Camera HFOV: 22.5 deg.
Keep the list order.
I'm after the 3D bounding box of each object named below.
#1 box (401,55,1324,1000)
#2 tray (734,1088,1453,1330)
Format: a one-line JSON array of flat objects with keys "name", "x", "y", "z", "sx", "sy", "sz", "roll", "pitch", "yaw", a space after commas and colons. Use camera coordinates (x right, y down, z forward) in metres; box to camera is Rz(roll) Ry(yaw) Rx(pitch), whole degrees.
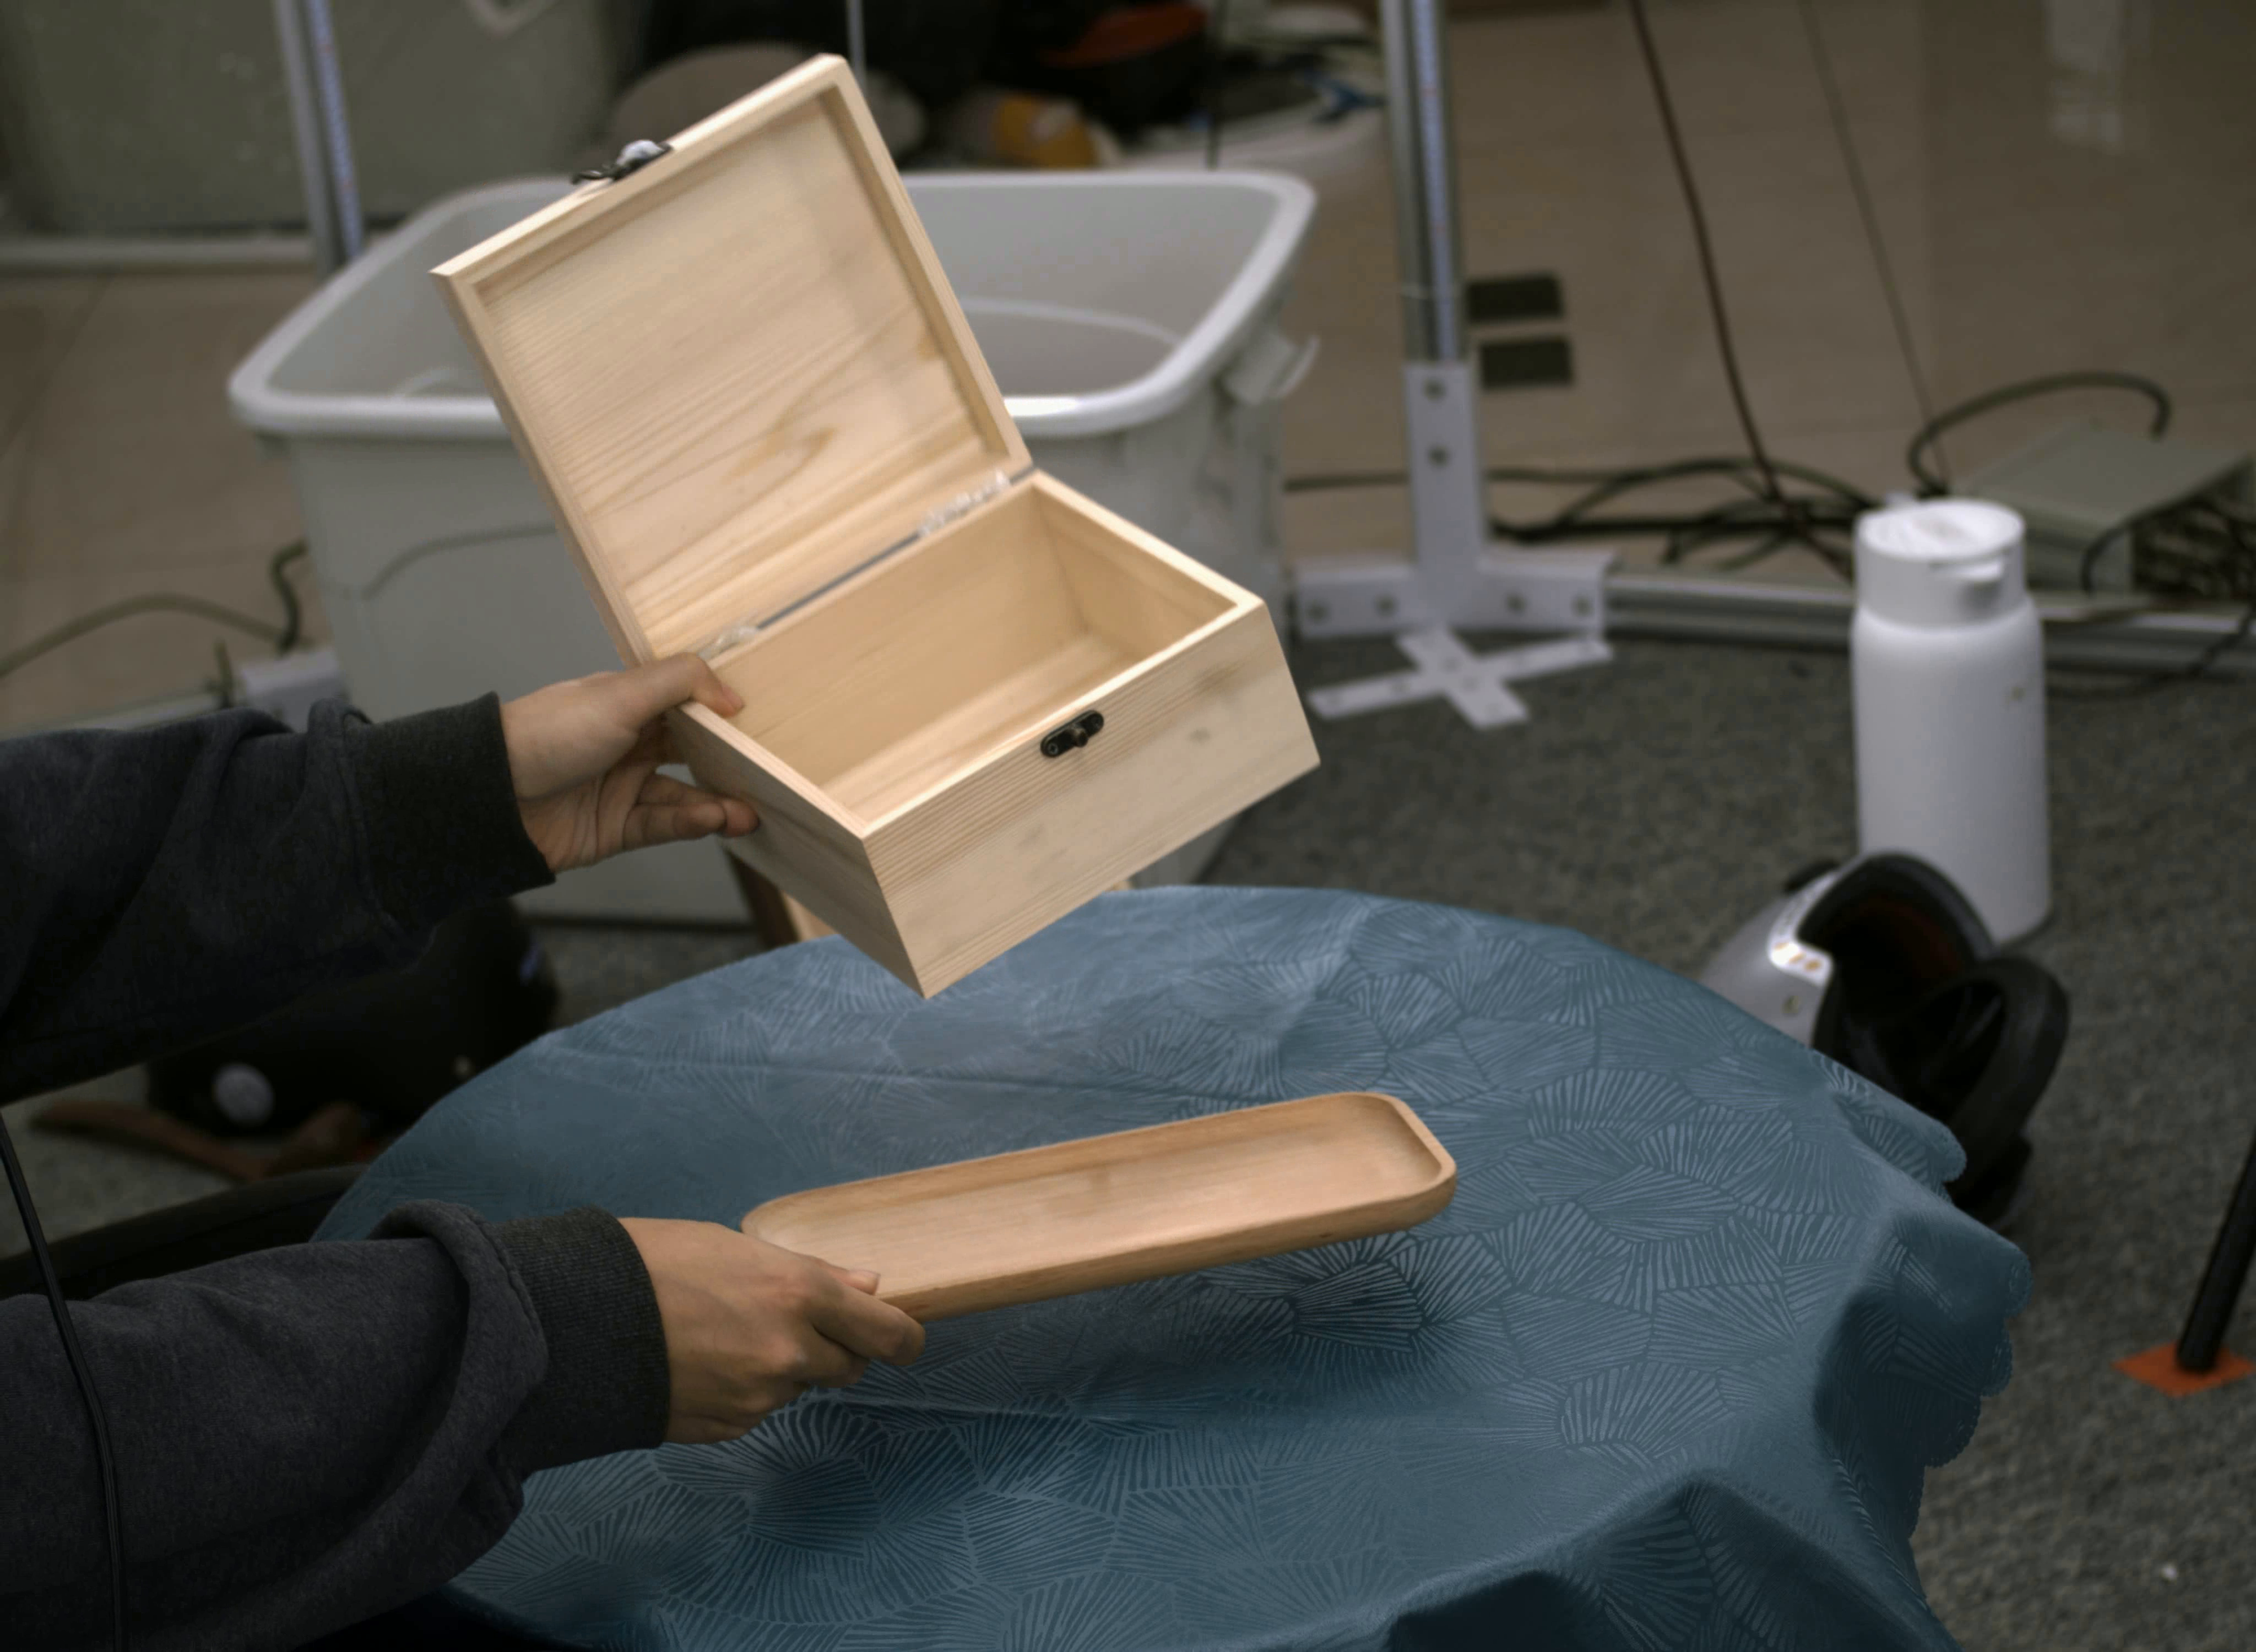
[{"name": "box", "x": -0.101, "y": -0.119, "z": 2.139, "sx": 0.181, "sy": 0.257, "sz": 0.262, "roll": -35, "pitch": 33, "yaw": -15}, {"name": "tray", "x": -0.013, "y": 0.137, "z": 2.036, "sx": 0.250, "sy": 0.023, "sz": 0.129, "roll": -10, "pitch": 14, "yaw": -9}]
